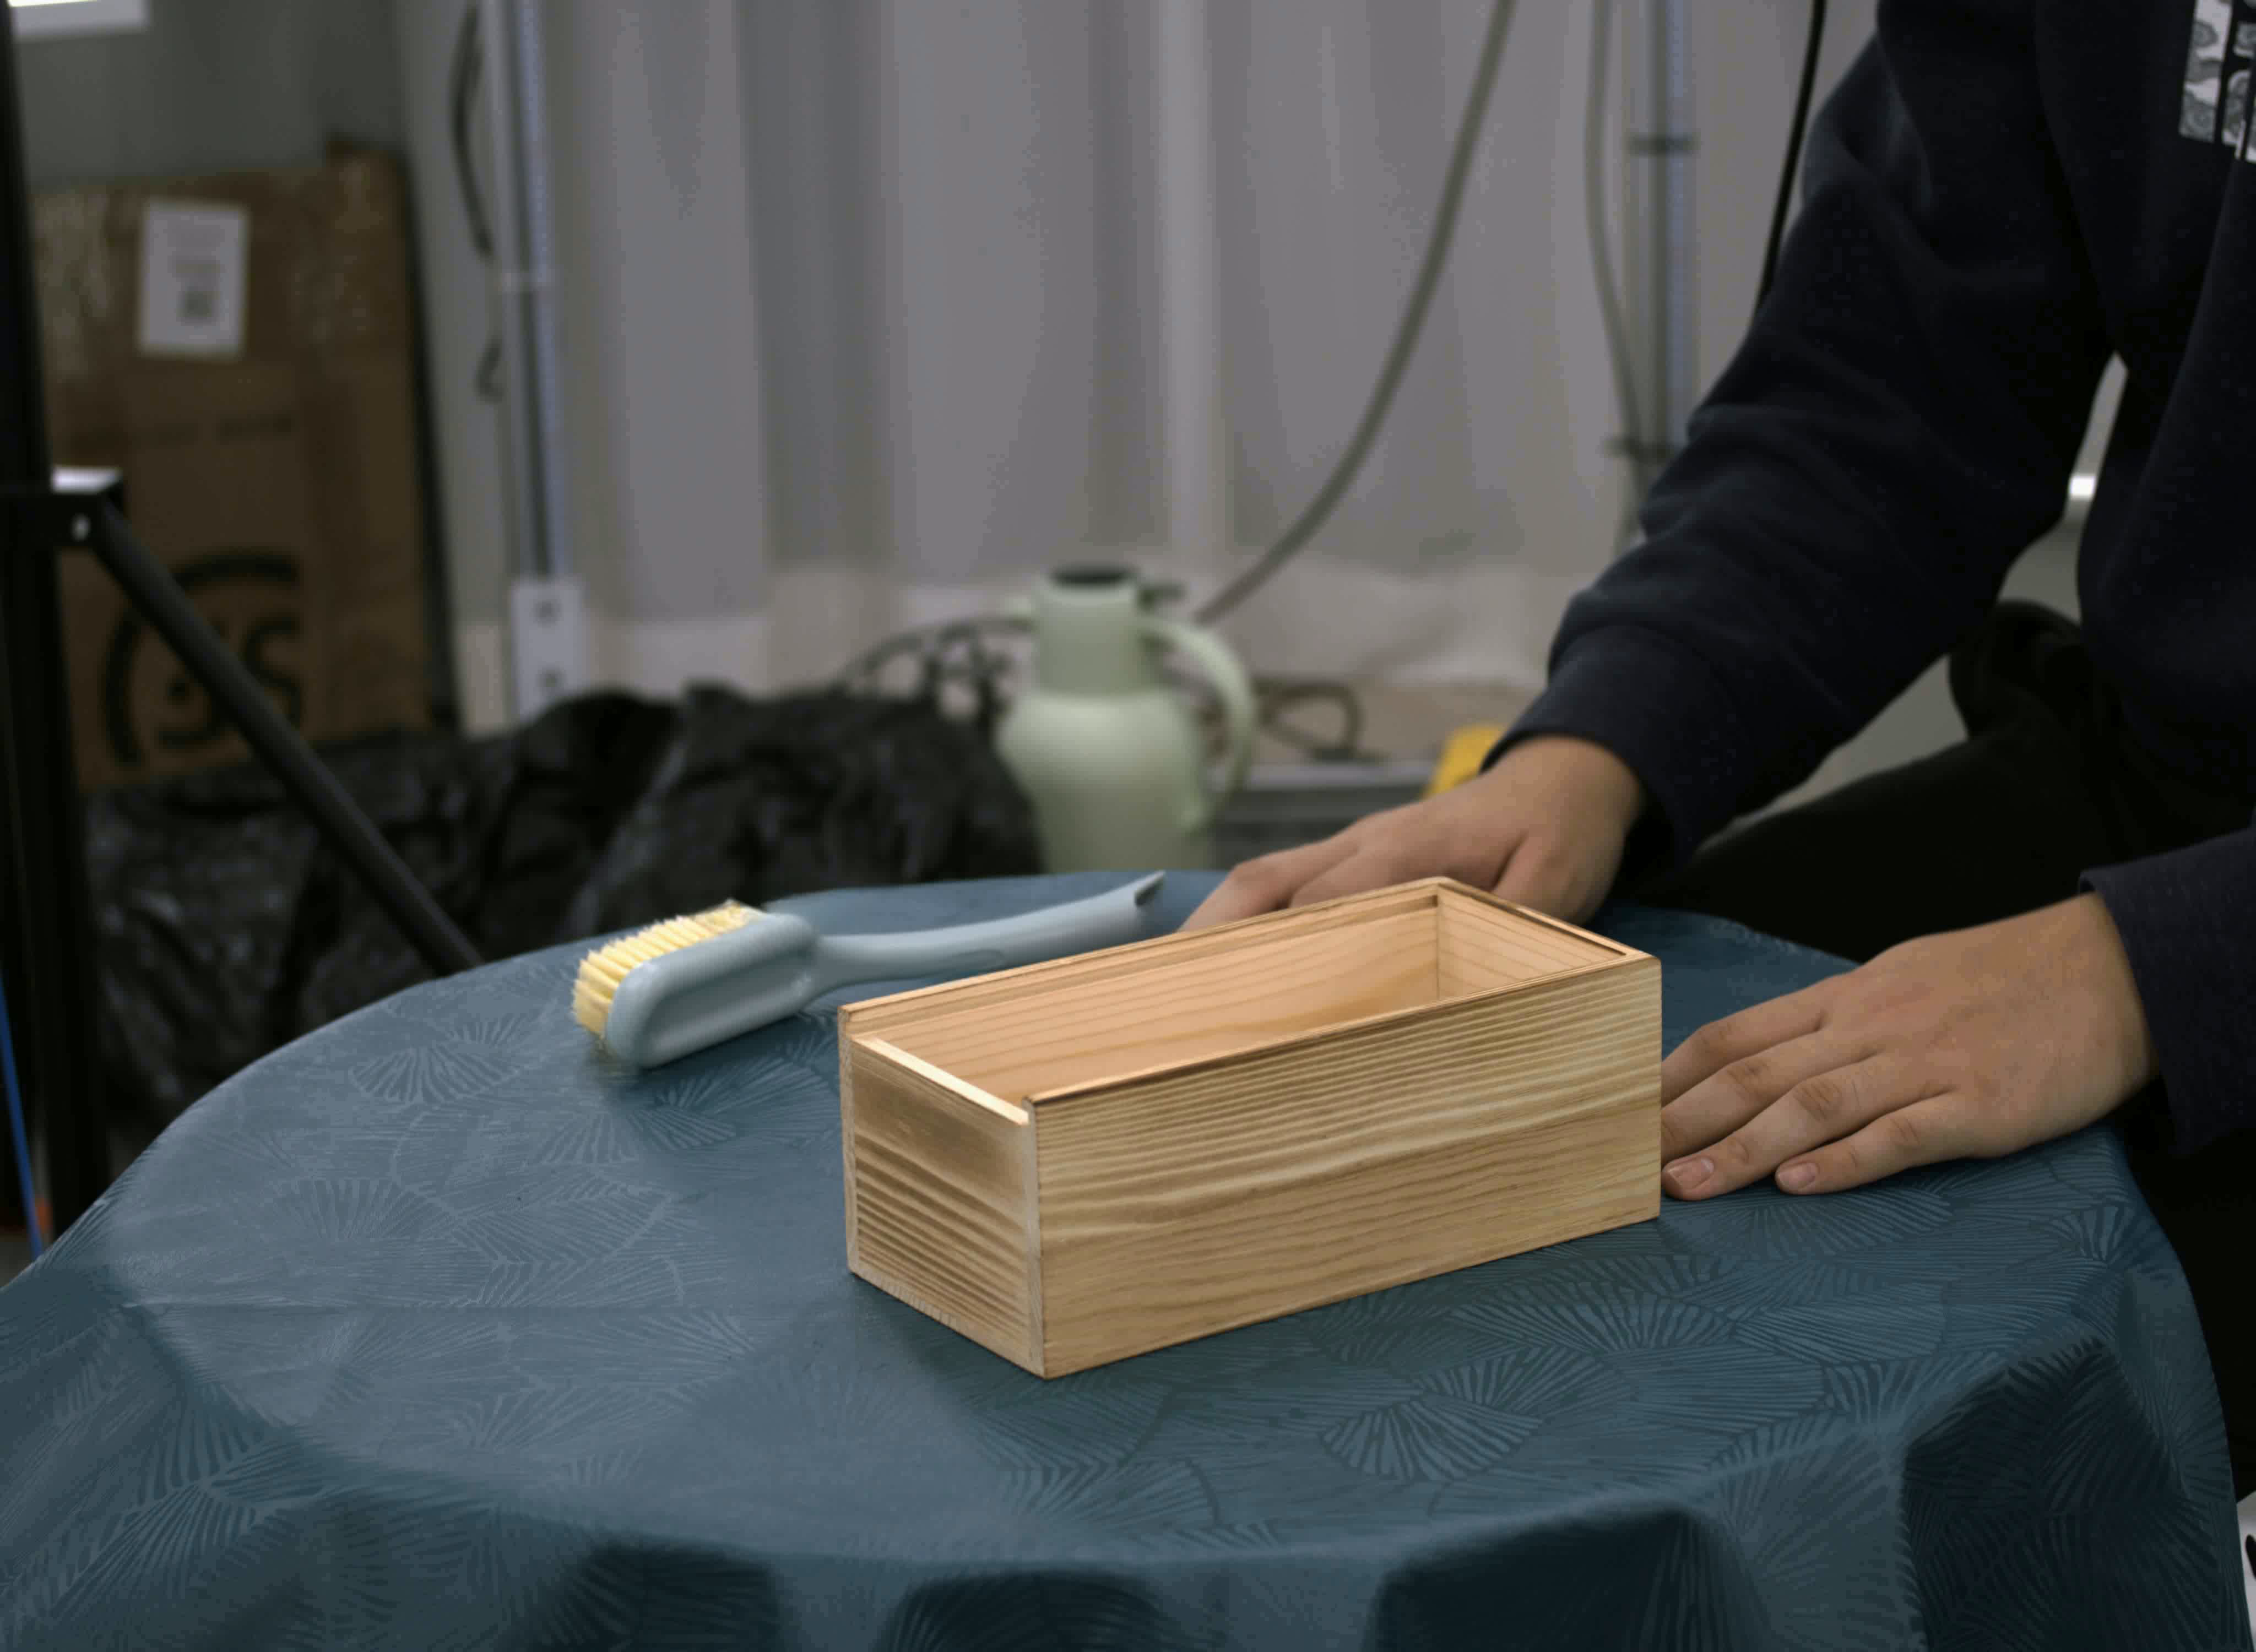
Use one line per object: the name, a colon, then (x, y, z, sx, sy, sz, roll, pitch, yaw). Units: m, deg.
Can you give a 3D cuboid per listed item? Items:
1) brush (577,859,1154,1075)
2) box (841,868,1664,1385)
brush: (-0.081, 0.038, 1.747, 0.223, 0.038, 0.051, -14, 27, -35)
box: (0.037, 0.081, 1.499, 0.207, 0.080, 0.110, -12, 19, -30)
